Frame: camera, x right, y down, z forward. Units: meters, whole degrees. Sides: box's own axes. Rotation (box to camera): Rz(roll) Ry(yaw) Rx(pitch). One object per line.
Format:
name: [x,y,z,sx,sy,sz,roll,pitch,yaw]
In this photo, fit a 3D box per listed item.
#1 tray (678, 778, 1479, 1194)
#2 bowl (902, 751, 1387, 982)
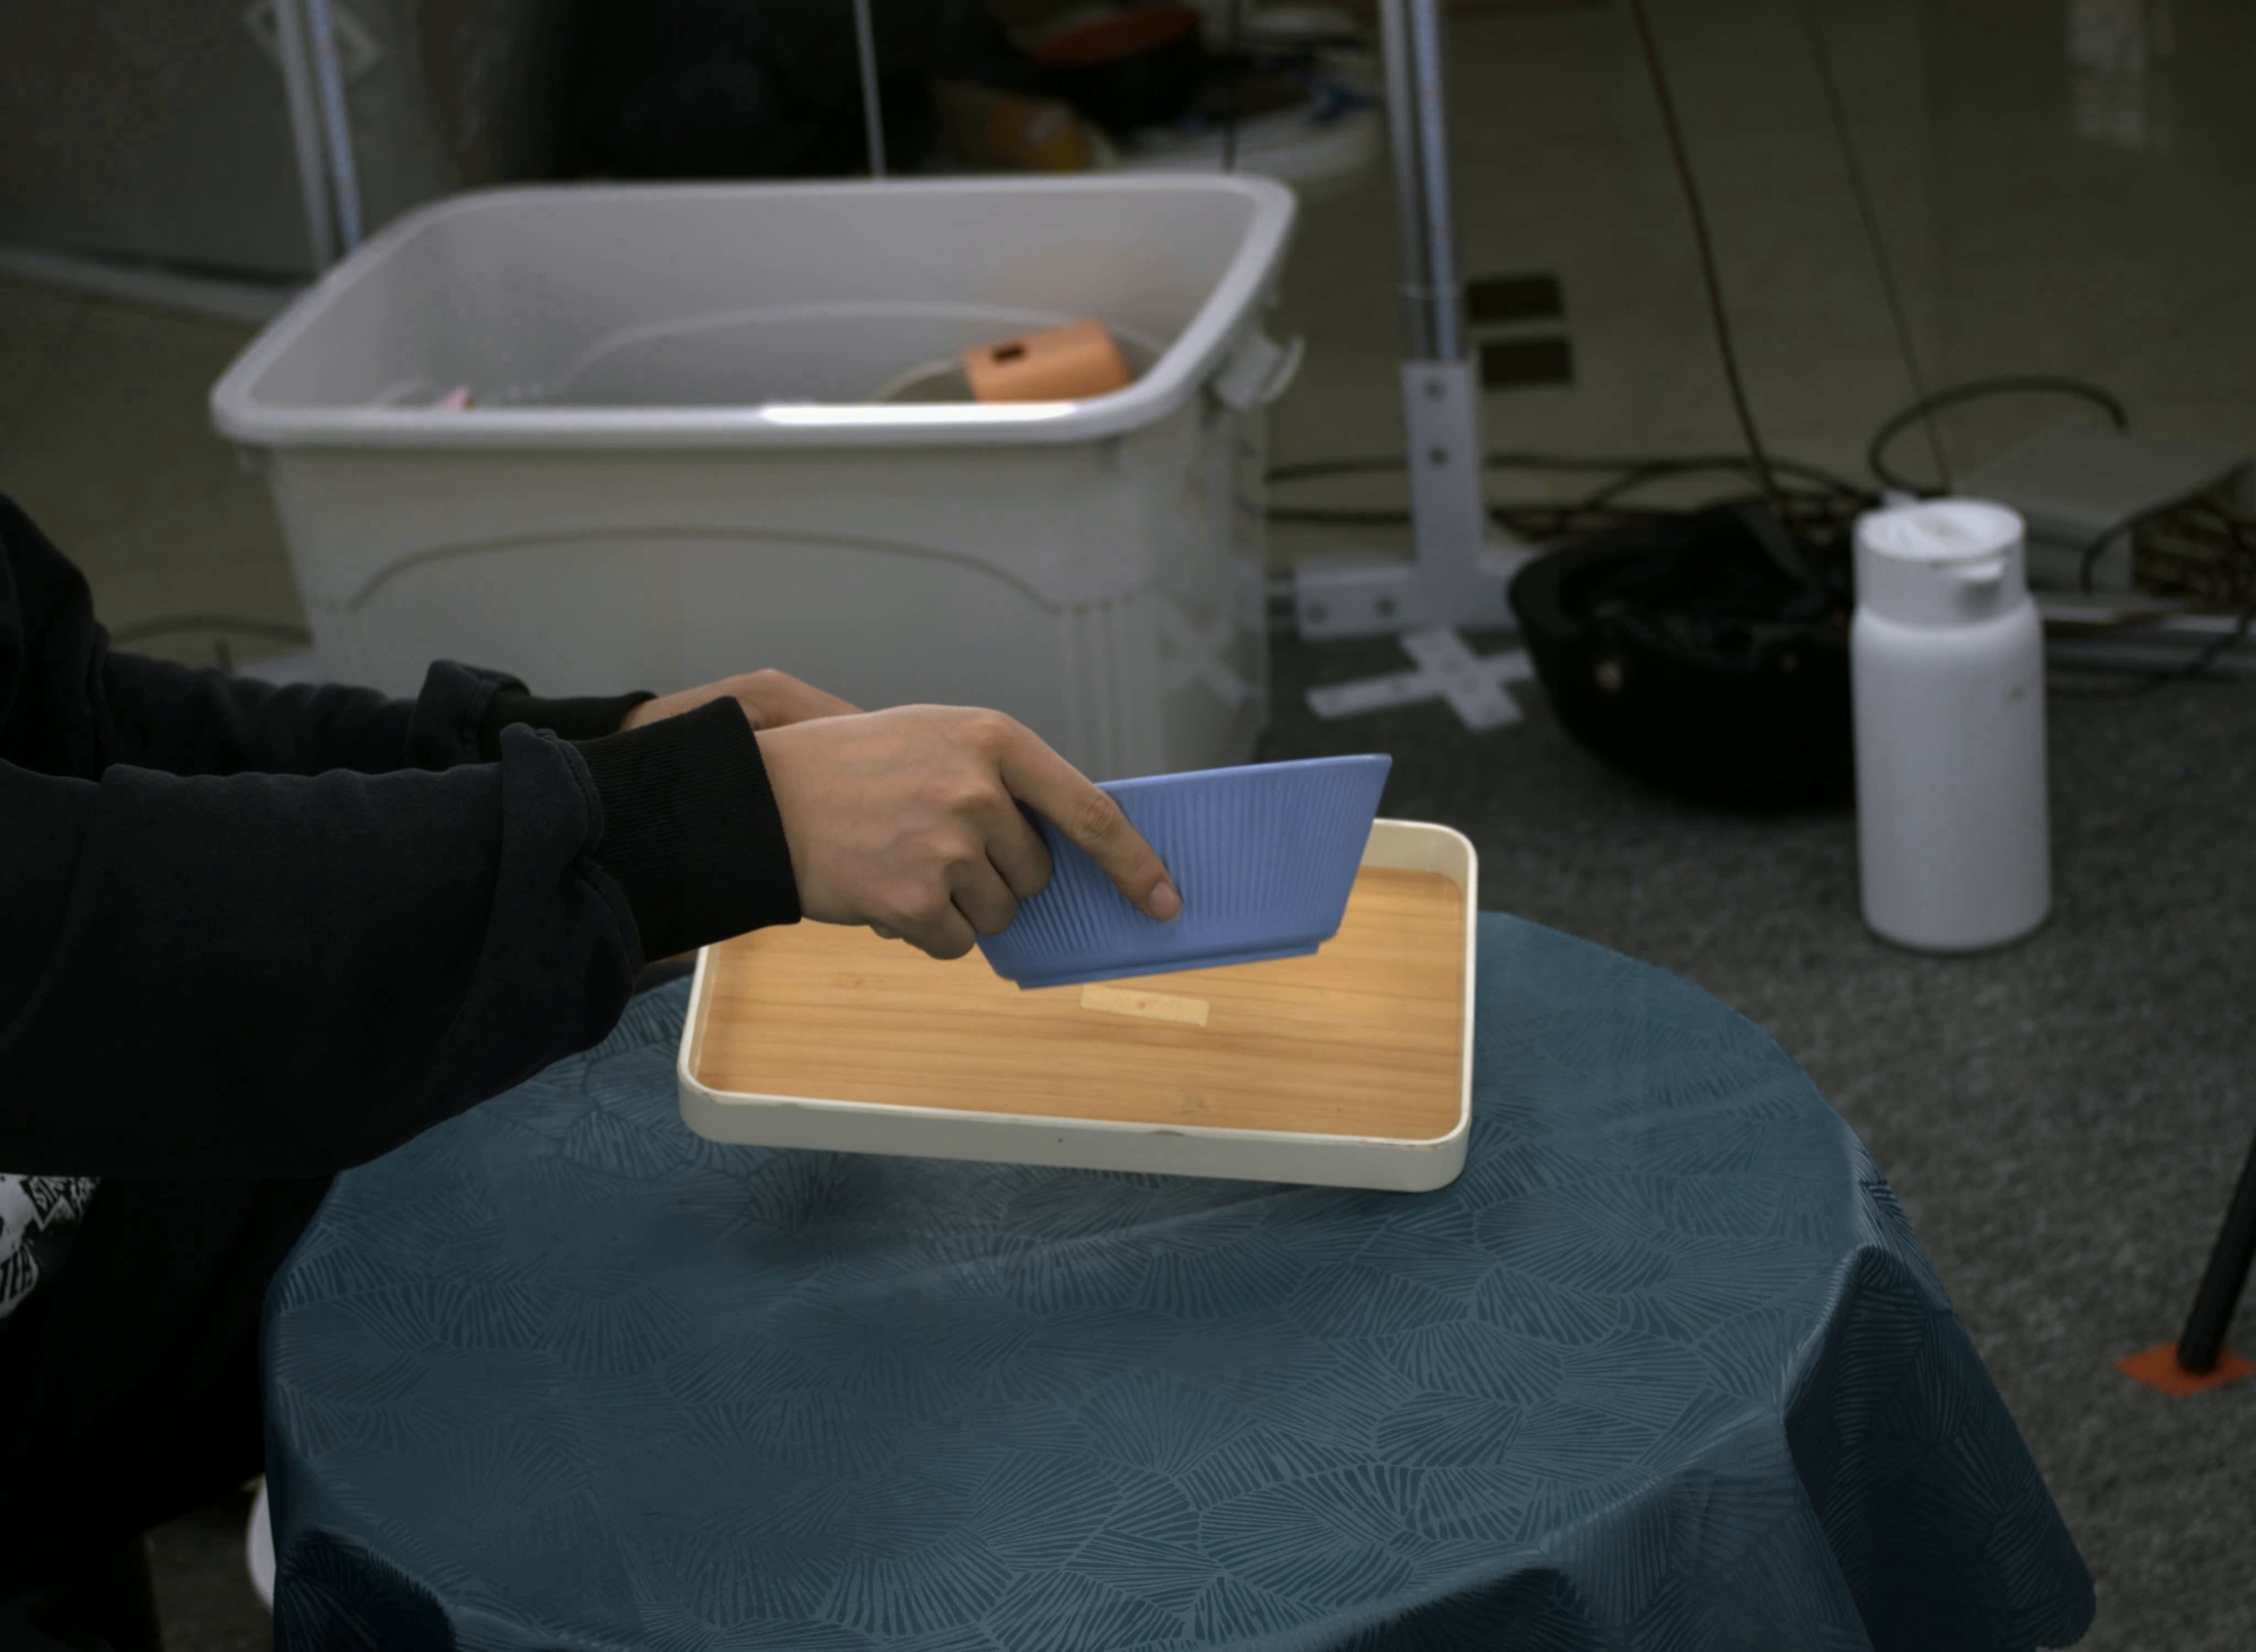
tray: [-0.016,0.060,2.192,0.300,0.028,0.188,4,41,1]
bowl: [0.009,0.016,2.023,0.176,0.070,0.176,-6,-1,0]
